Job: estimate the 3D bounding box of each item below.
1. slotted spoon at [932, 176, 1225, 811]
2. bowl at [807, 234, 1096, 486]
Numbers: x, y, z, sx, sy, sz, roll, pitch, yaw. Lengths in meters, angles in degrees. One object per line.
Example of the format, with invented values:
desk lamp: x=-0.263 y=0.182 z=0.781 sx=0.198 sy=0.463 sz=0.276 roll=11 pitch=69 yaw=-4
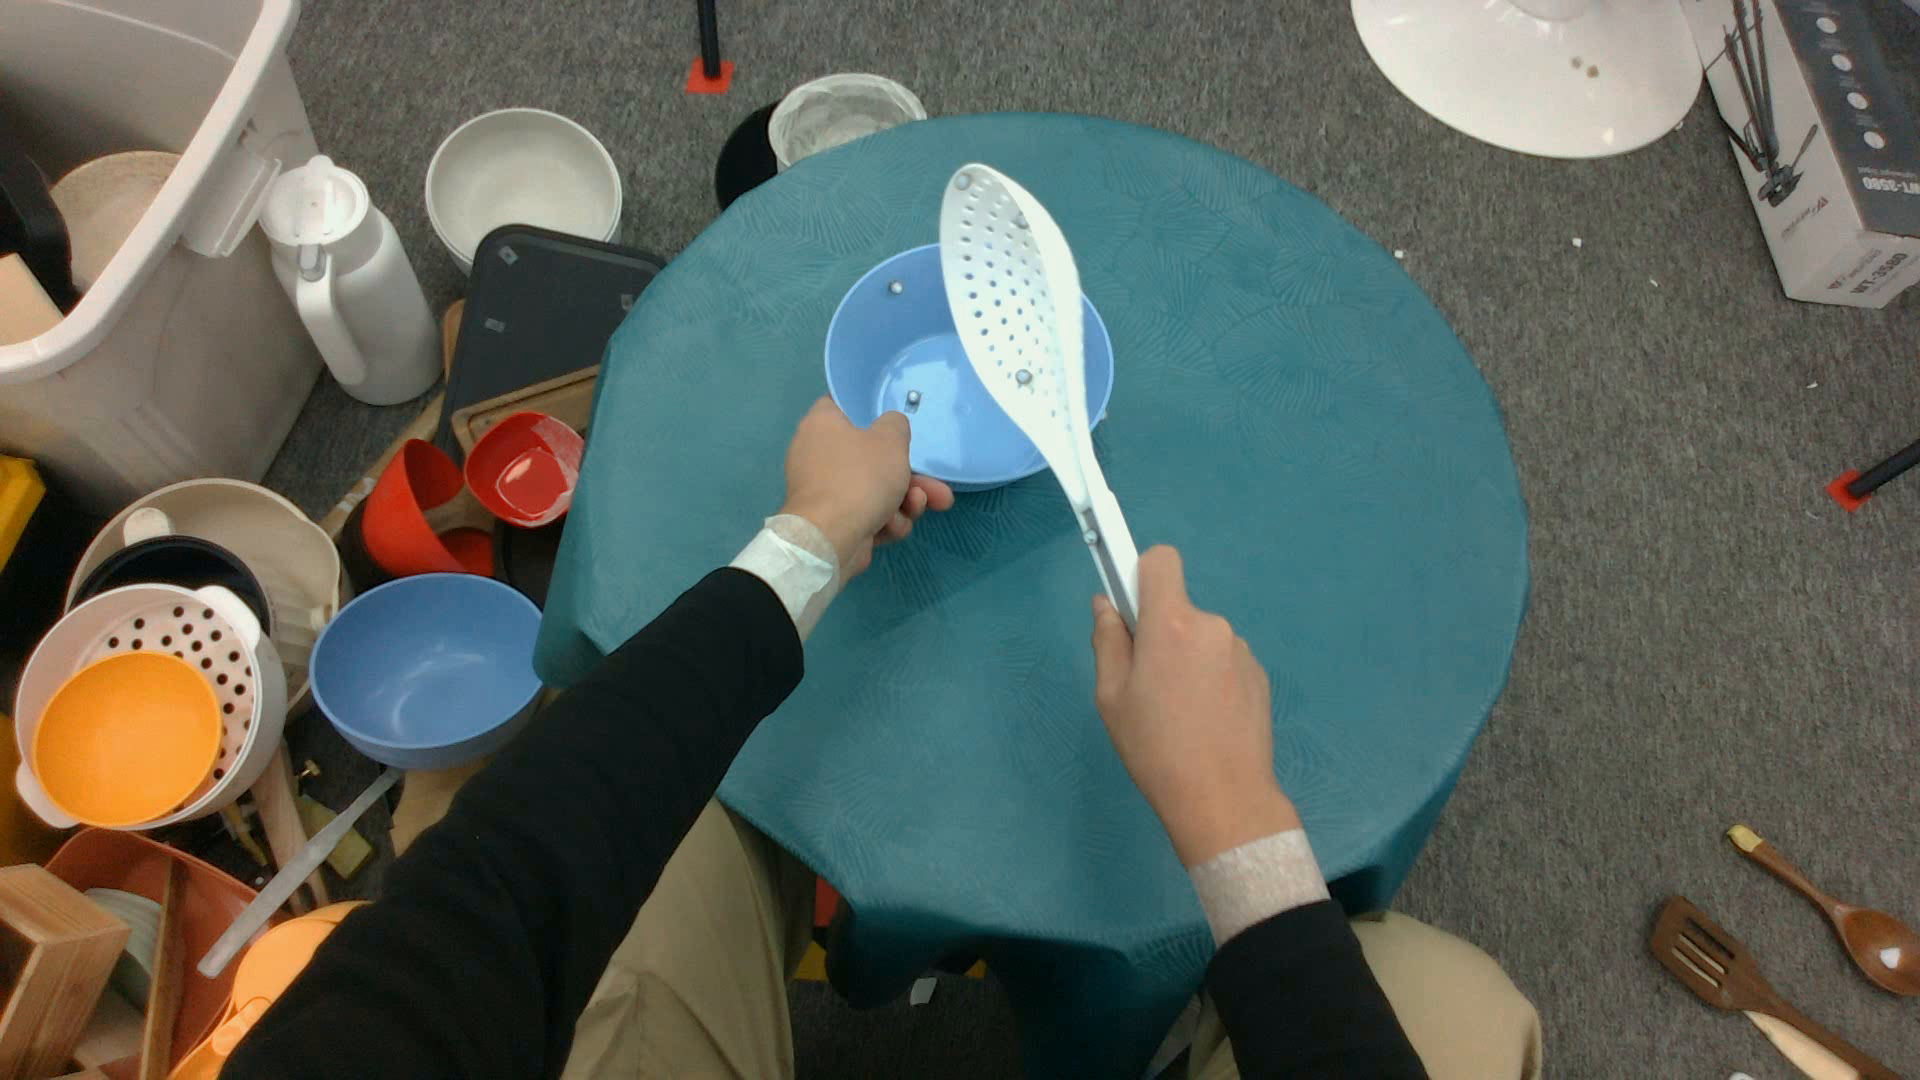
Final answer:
slotted spoon: x=0.062 y=-0.027 z=0.717 sx=0.046 sy=0.135 sz=0.350 roll=-14 pitch=80 yaw=-20
bowl: x=-0.007 y=-0.101 z=0.858 sx=0.176 sy=0.070 sz=0.176 roll=2 pitch=64 yaw=-5
